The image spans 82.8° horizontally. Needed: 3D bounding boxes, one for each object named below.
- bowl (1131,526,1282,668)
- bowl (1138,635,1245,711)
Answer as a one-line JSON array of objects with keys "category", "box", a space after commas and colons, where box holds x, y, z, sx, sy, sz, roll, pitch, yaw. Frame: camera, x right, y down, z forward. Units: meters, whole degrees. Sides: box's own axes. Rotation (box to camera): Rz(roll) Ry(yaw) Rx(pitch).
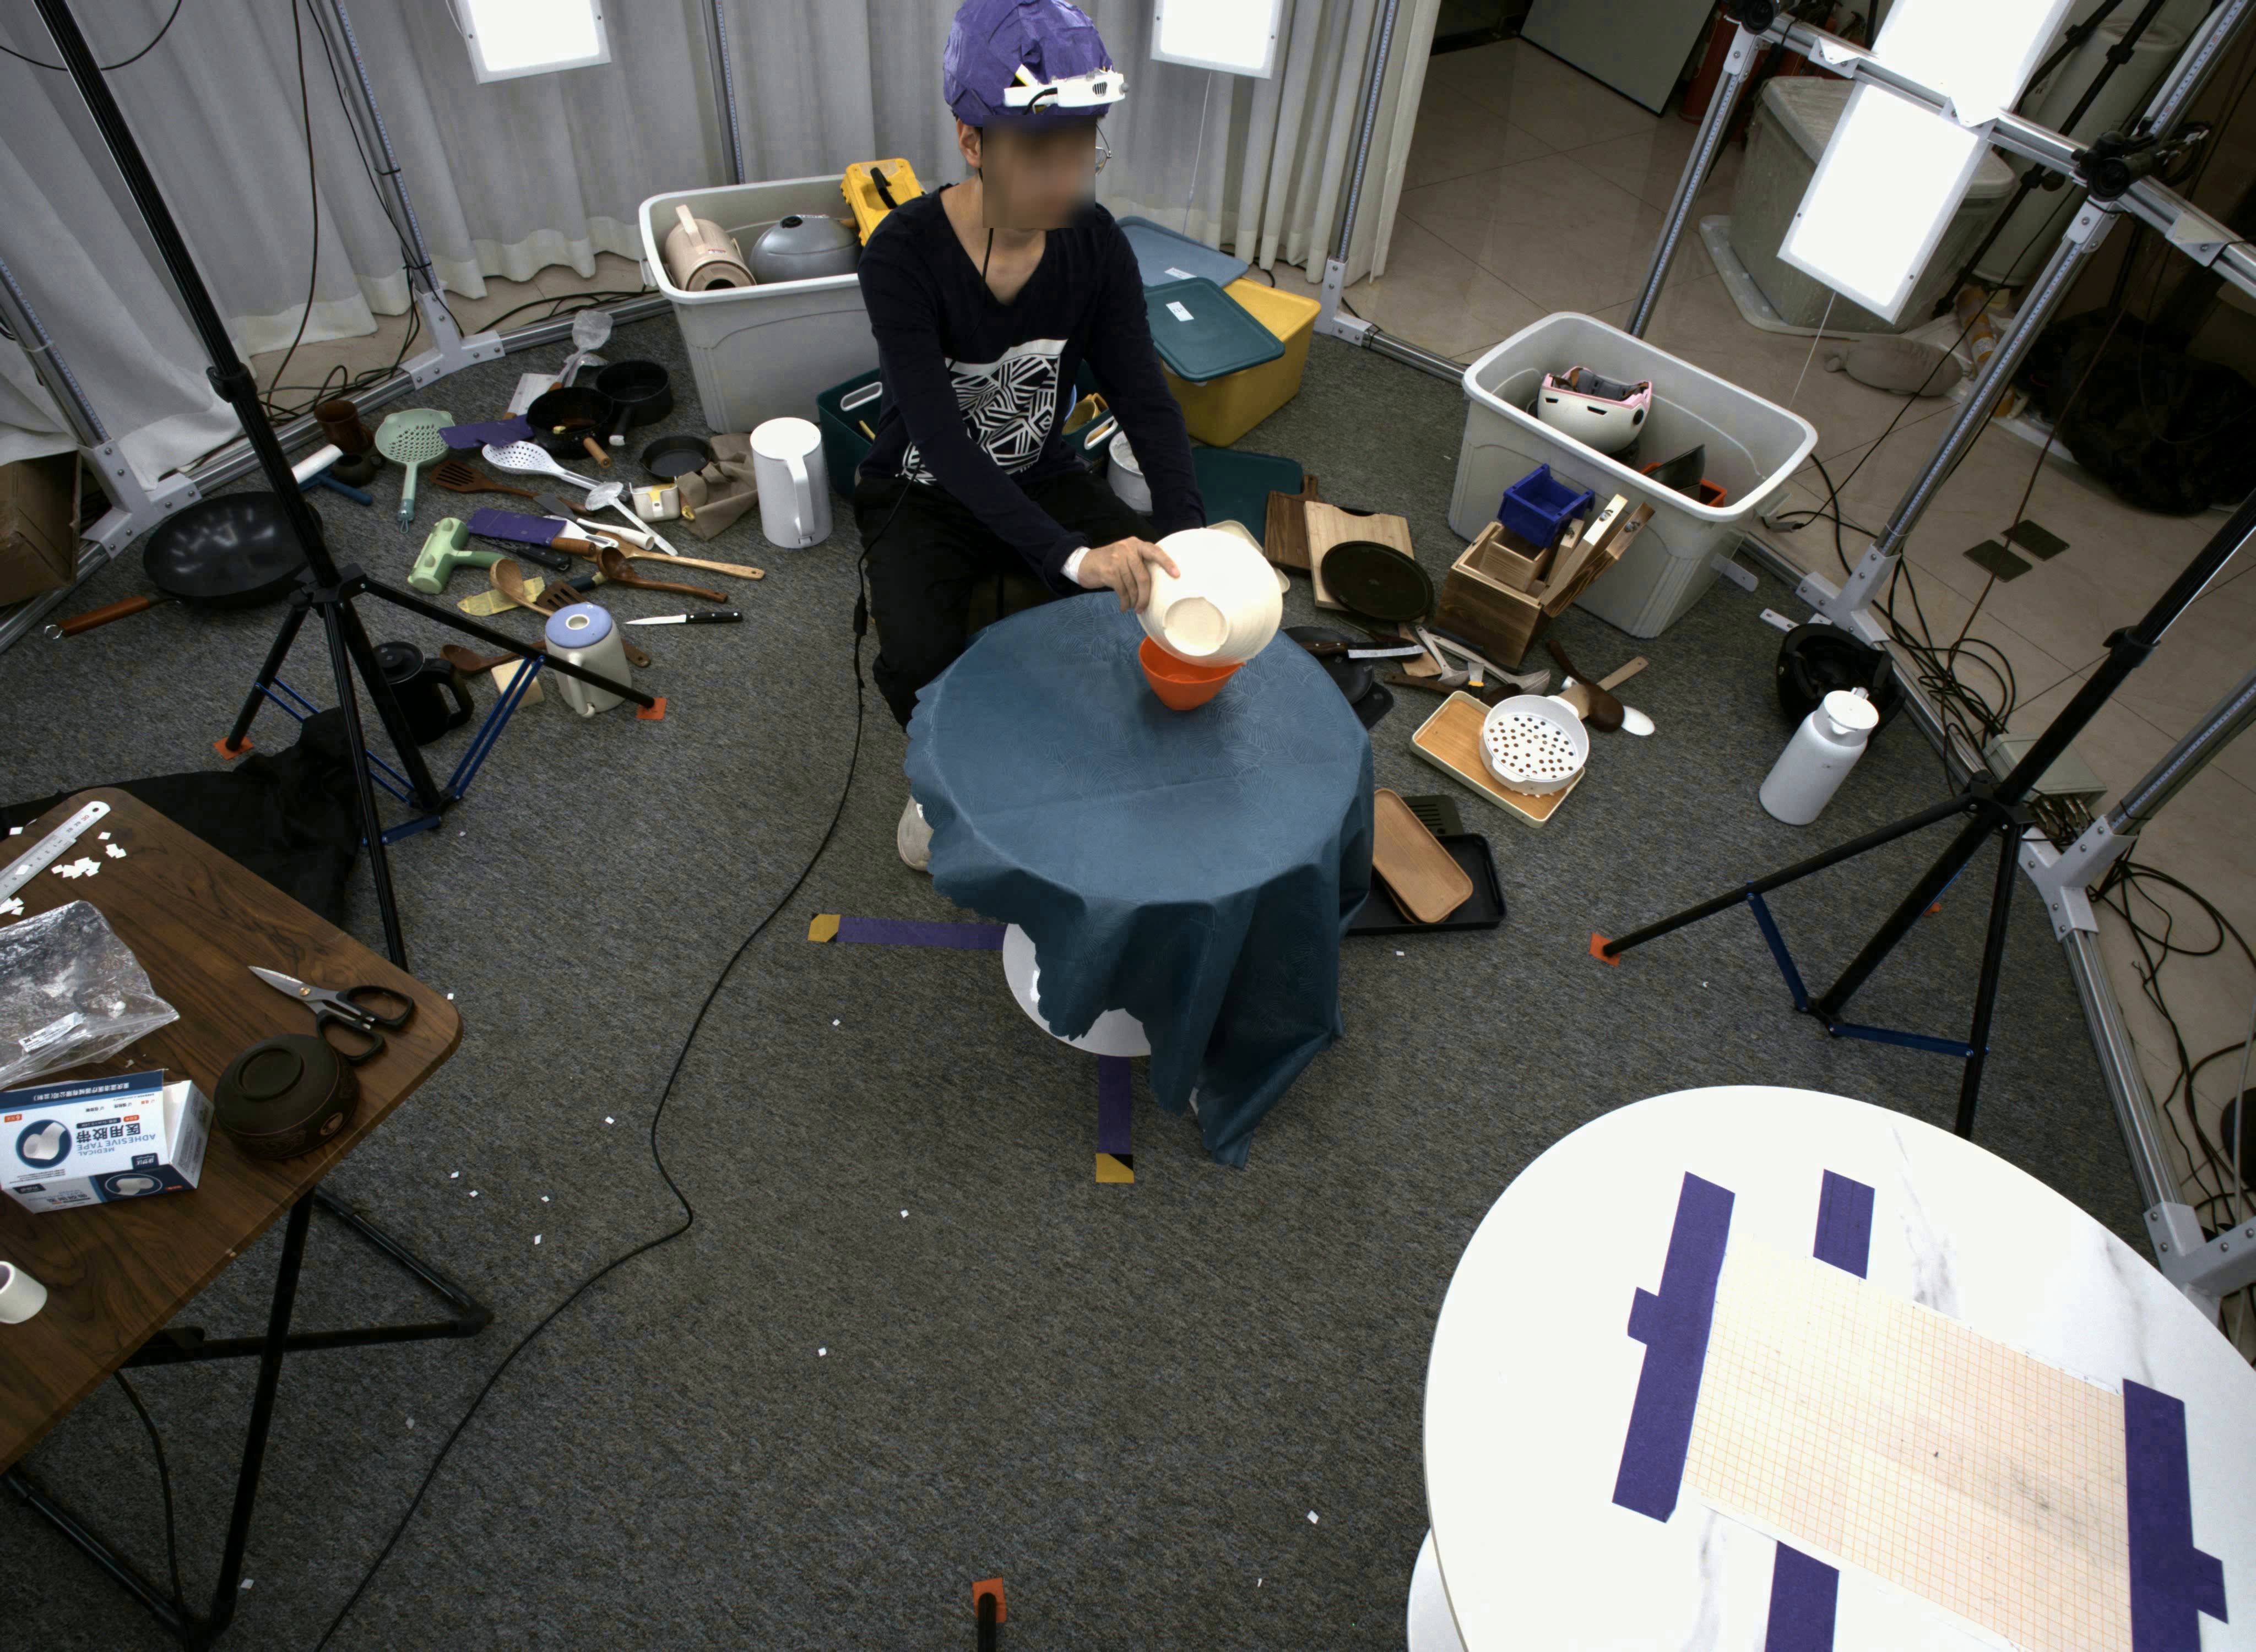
[{"category": "bowl", "box": [0.094, -0.278, 1.666, 0.204, 0.199, 0.079, 14, 38, 8]}, {"category": "bowl", "box": [0.086, -0.214, 1.794, 0.148, 0.102, 0.152, 1, 48, -2]}]
